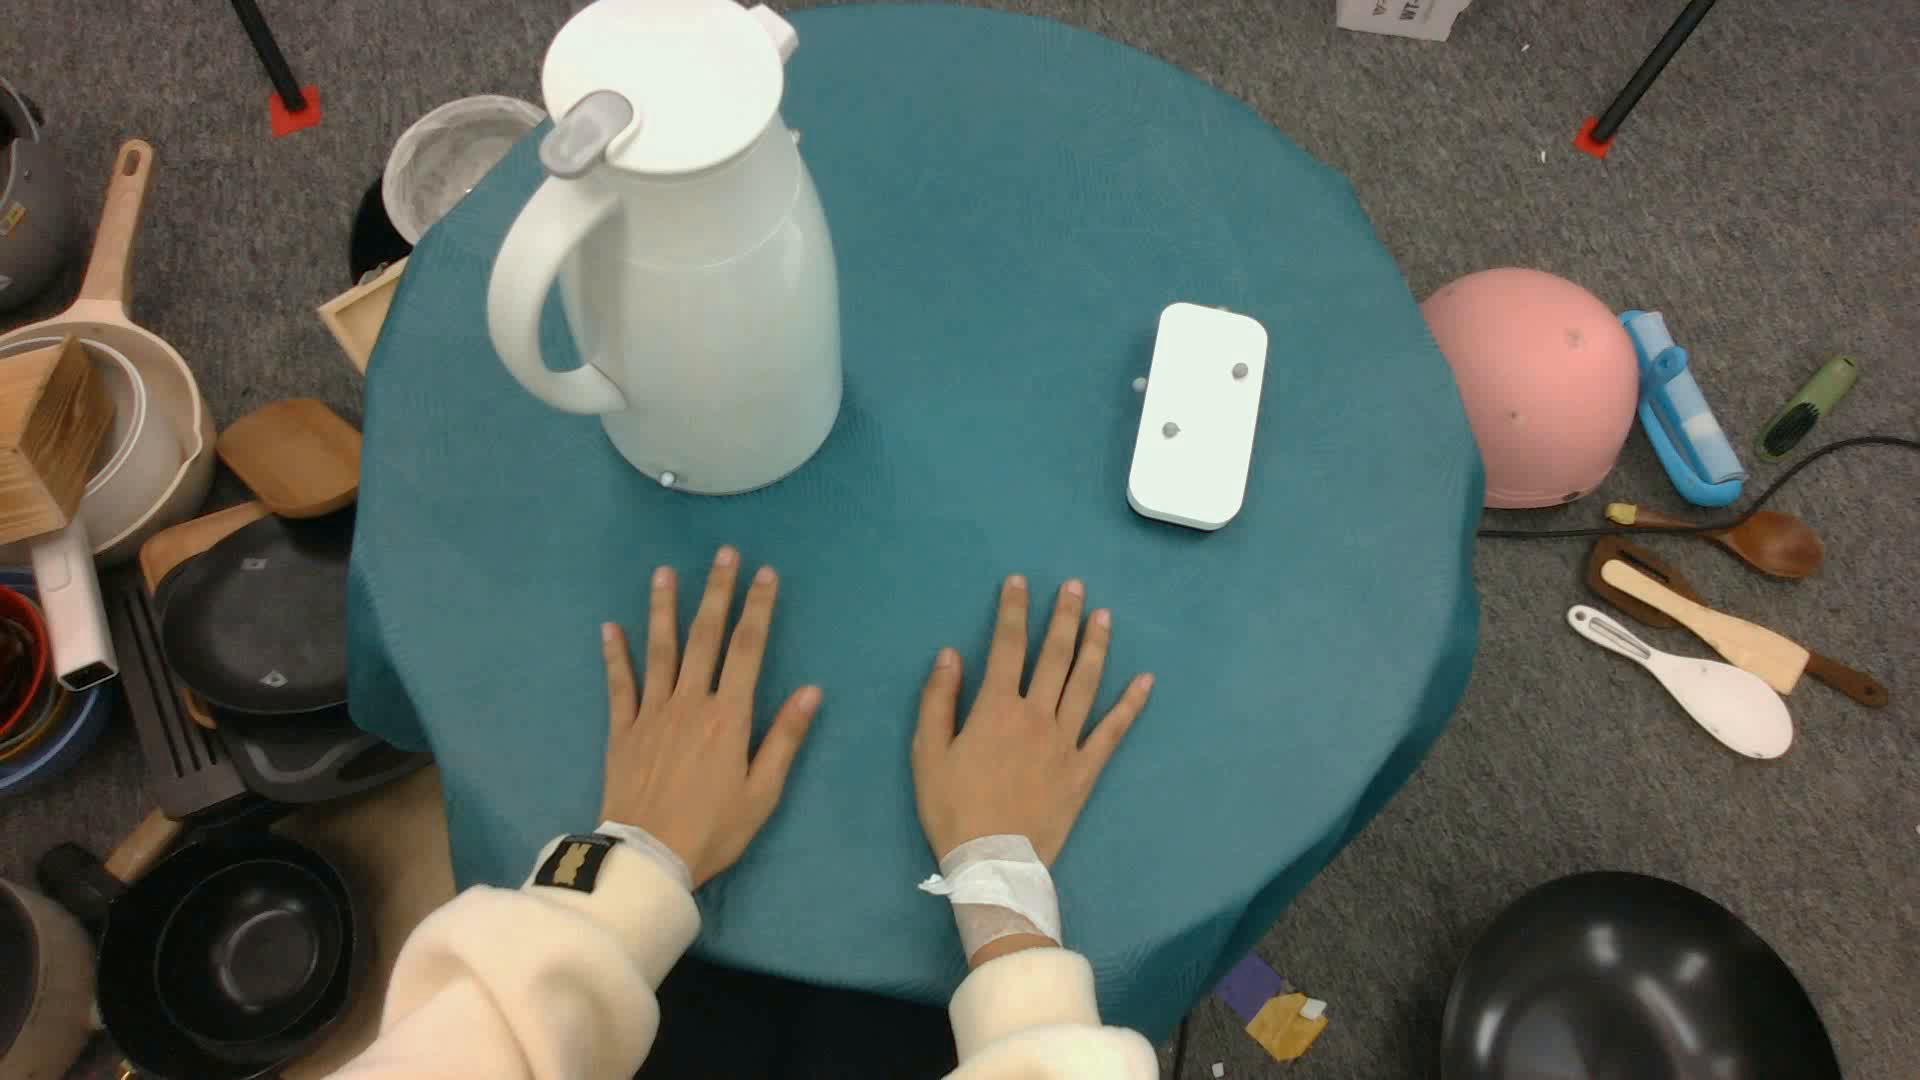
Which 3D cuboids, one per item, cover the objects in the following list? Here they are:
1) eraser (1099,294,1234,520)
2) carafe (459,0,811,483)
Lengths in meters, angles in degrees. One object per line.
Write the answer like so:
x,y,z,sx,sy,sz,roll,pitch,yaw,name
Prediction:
0.112,-0.075,0.754,0.063,0.034,0.132,12,65,2,eraser
-0.148,-0.124,0.630,0.132,0.247,0.168,38,69,10,carafe
